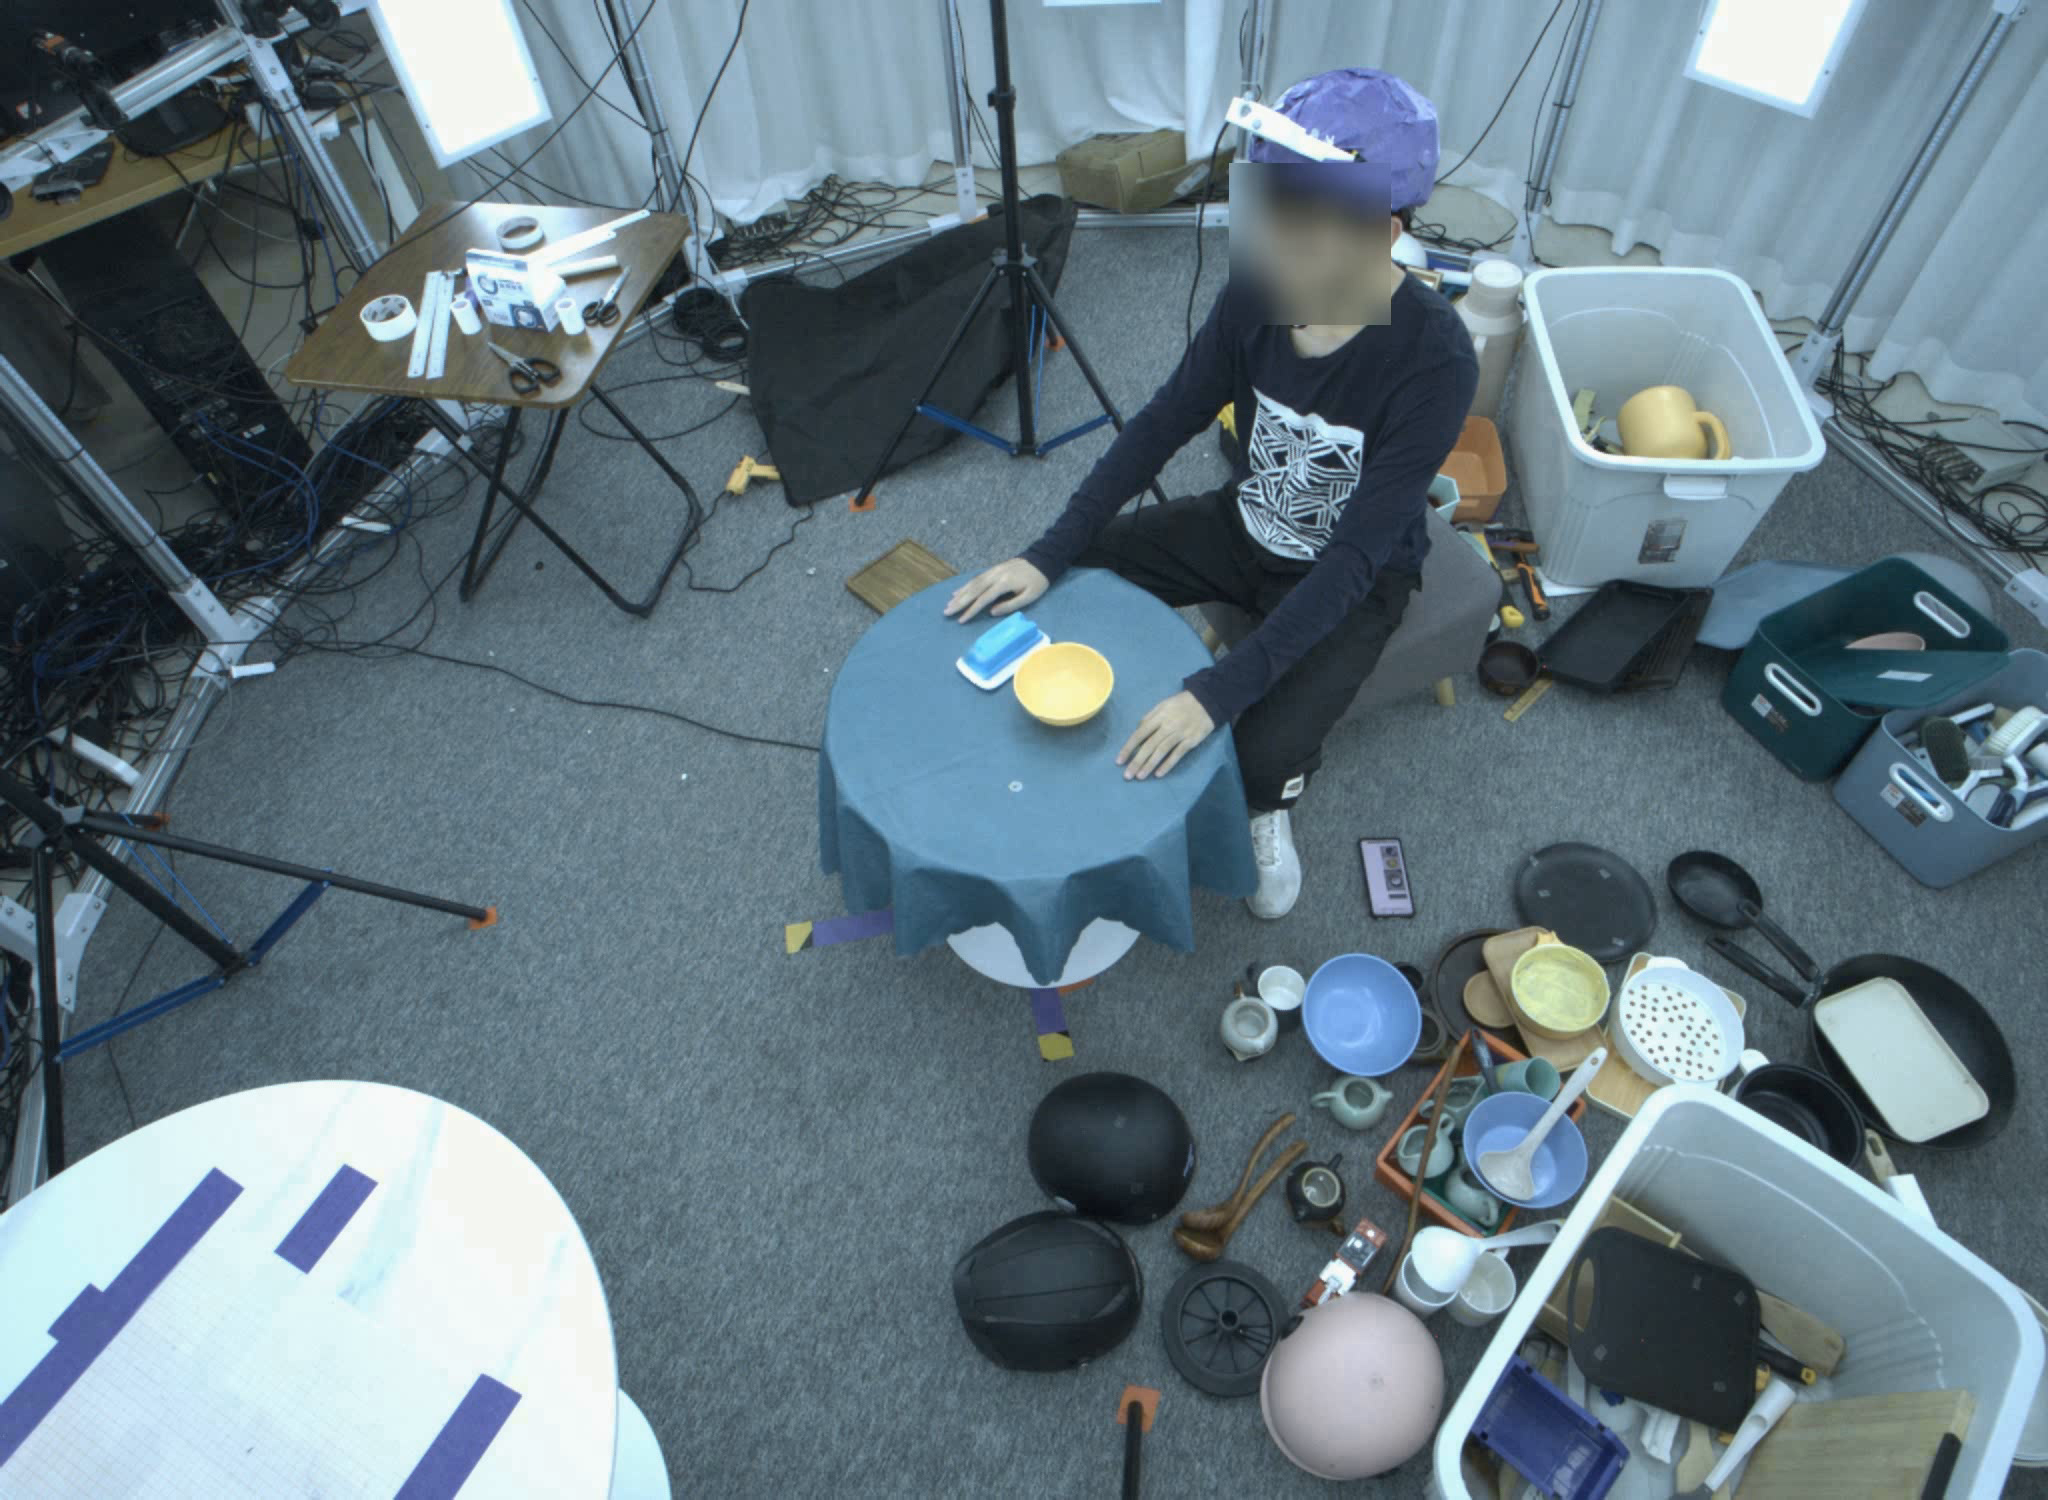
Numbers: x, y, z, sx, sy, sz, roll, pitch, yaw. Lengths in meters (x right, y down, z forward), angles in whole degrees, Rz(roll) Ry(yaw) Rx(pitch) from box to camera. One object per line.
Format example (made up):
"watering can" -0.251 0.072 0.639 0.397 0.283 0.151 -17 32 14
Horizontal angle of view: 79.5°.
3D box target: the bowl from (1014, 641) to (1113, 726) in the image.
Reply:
"bowl" 0.059 -0.086 1.804 0.145 0.061 0.144 -1 56 3

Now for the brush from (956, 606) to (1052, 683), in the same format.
"brush" -0.030 -0.168 1.862 0.145 0.056 0.082 -38 65 -20
